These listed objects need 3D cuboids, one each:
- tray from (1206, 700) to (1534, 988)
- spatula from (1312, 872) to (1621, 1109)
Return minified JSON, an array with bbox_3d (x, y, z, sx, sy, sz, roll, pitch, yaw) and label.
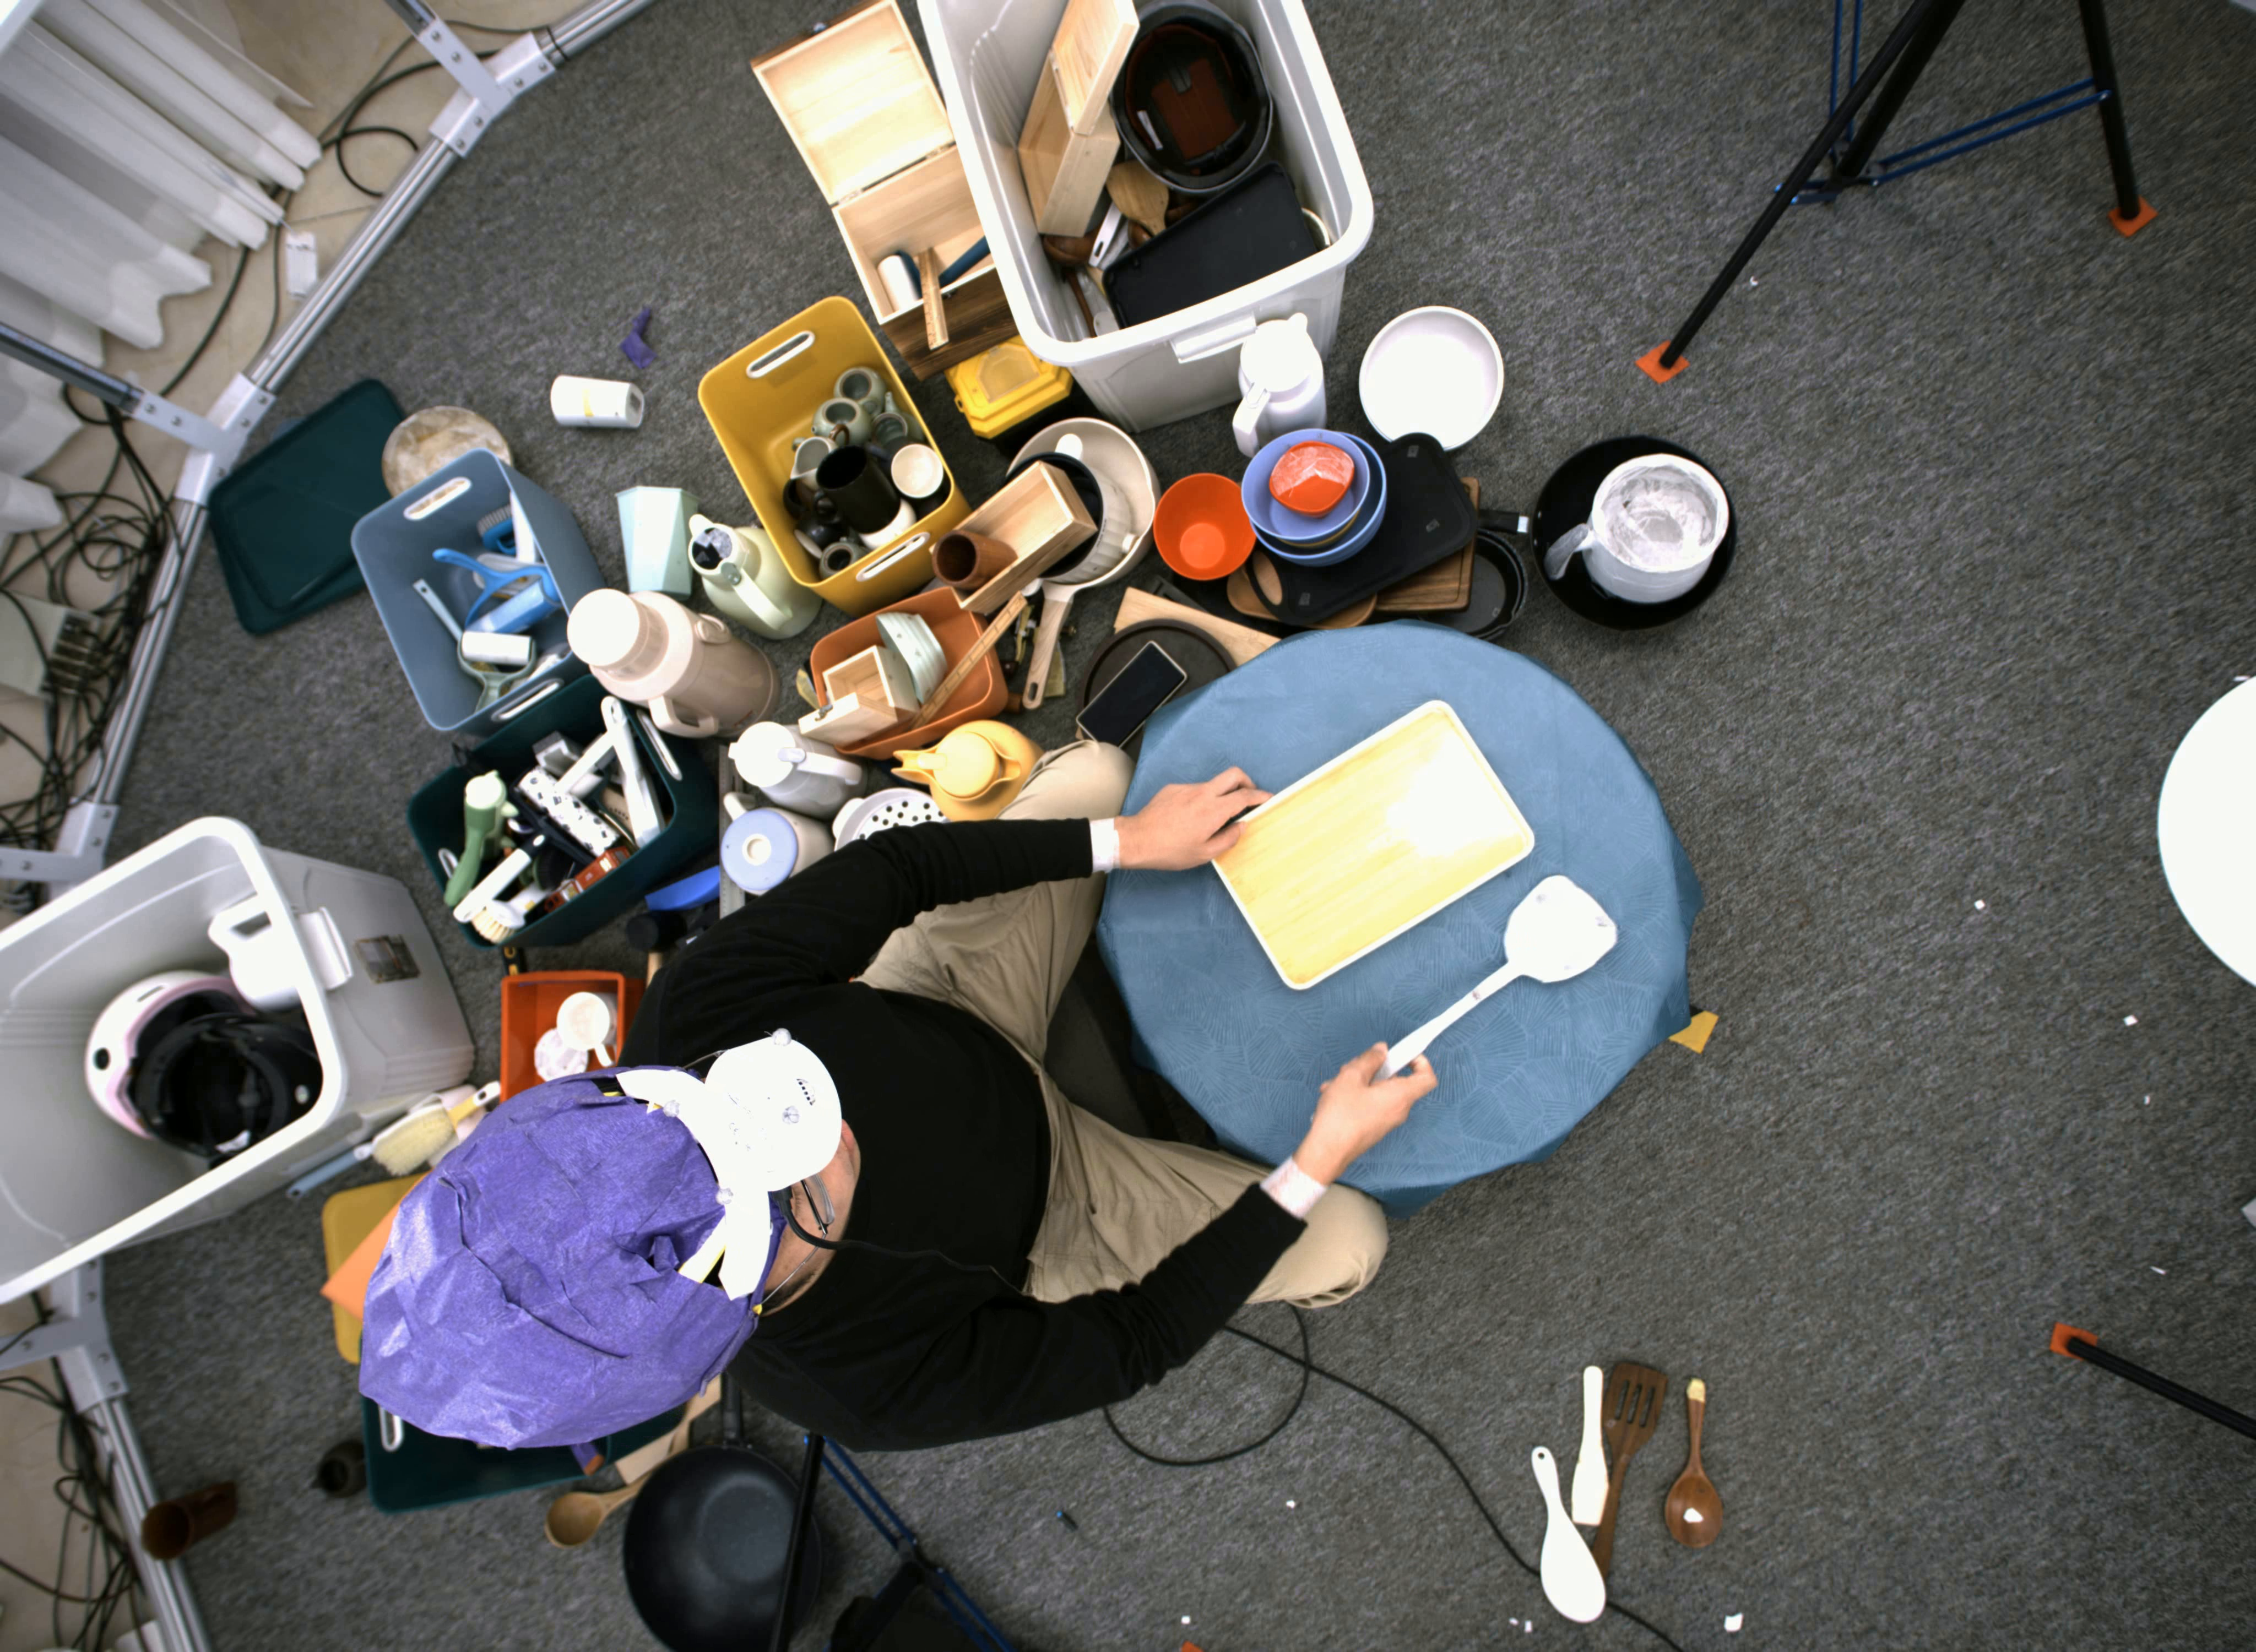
[{"bbox_3d":[0.252,0.019,1.453,0.302,0.027,0.190,-32,82,7],"label":"tray"},{"bbox_3d":[0.335,0.175,1.385,0.362,0.045,0.097,-33,66,-12],"label":"spatula"}]
